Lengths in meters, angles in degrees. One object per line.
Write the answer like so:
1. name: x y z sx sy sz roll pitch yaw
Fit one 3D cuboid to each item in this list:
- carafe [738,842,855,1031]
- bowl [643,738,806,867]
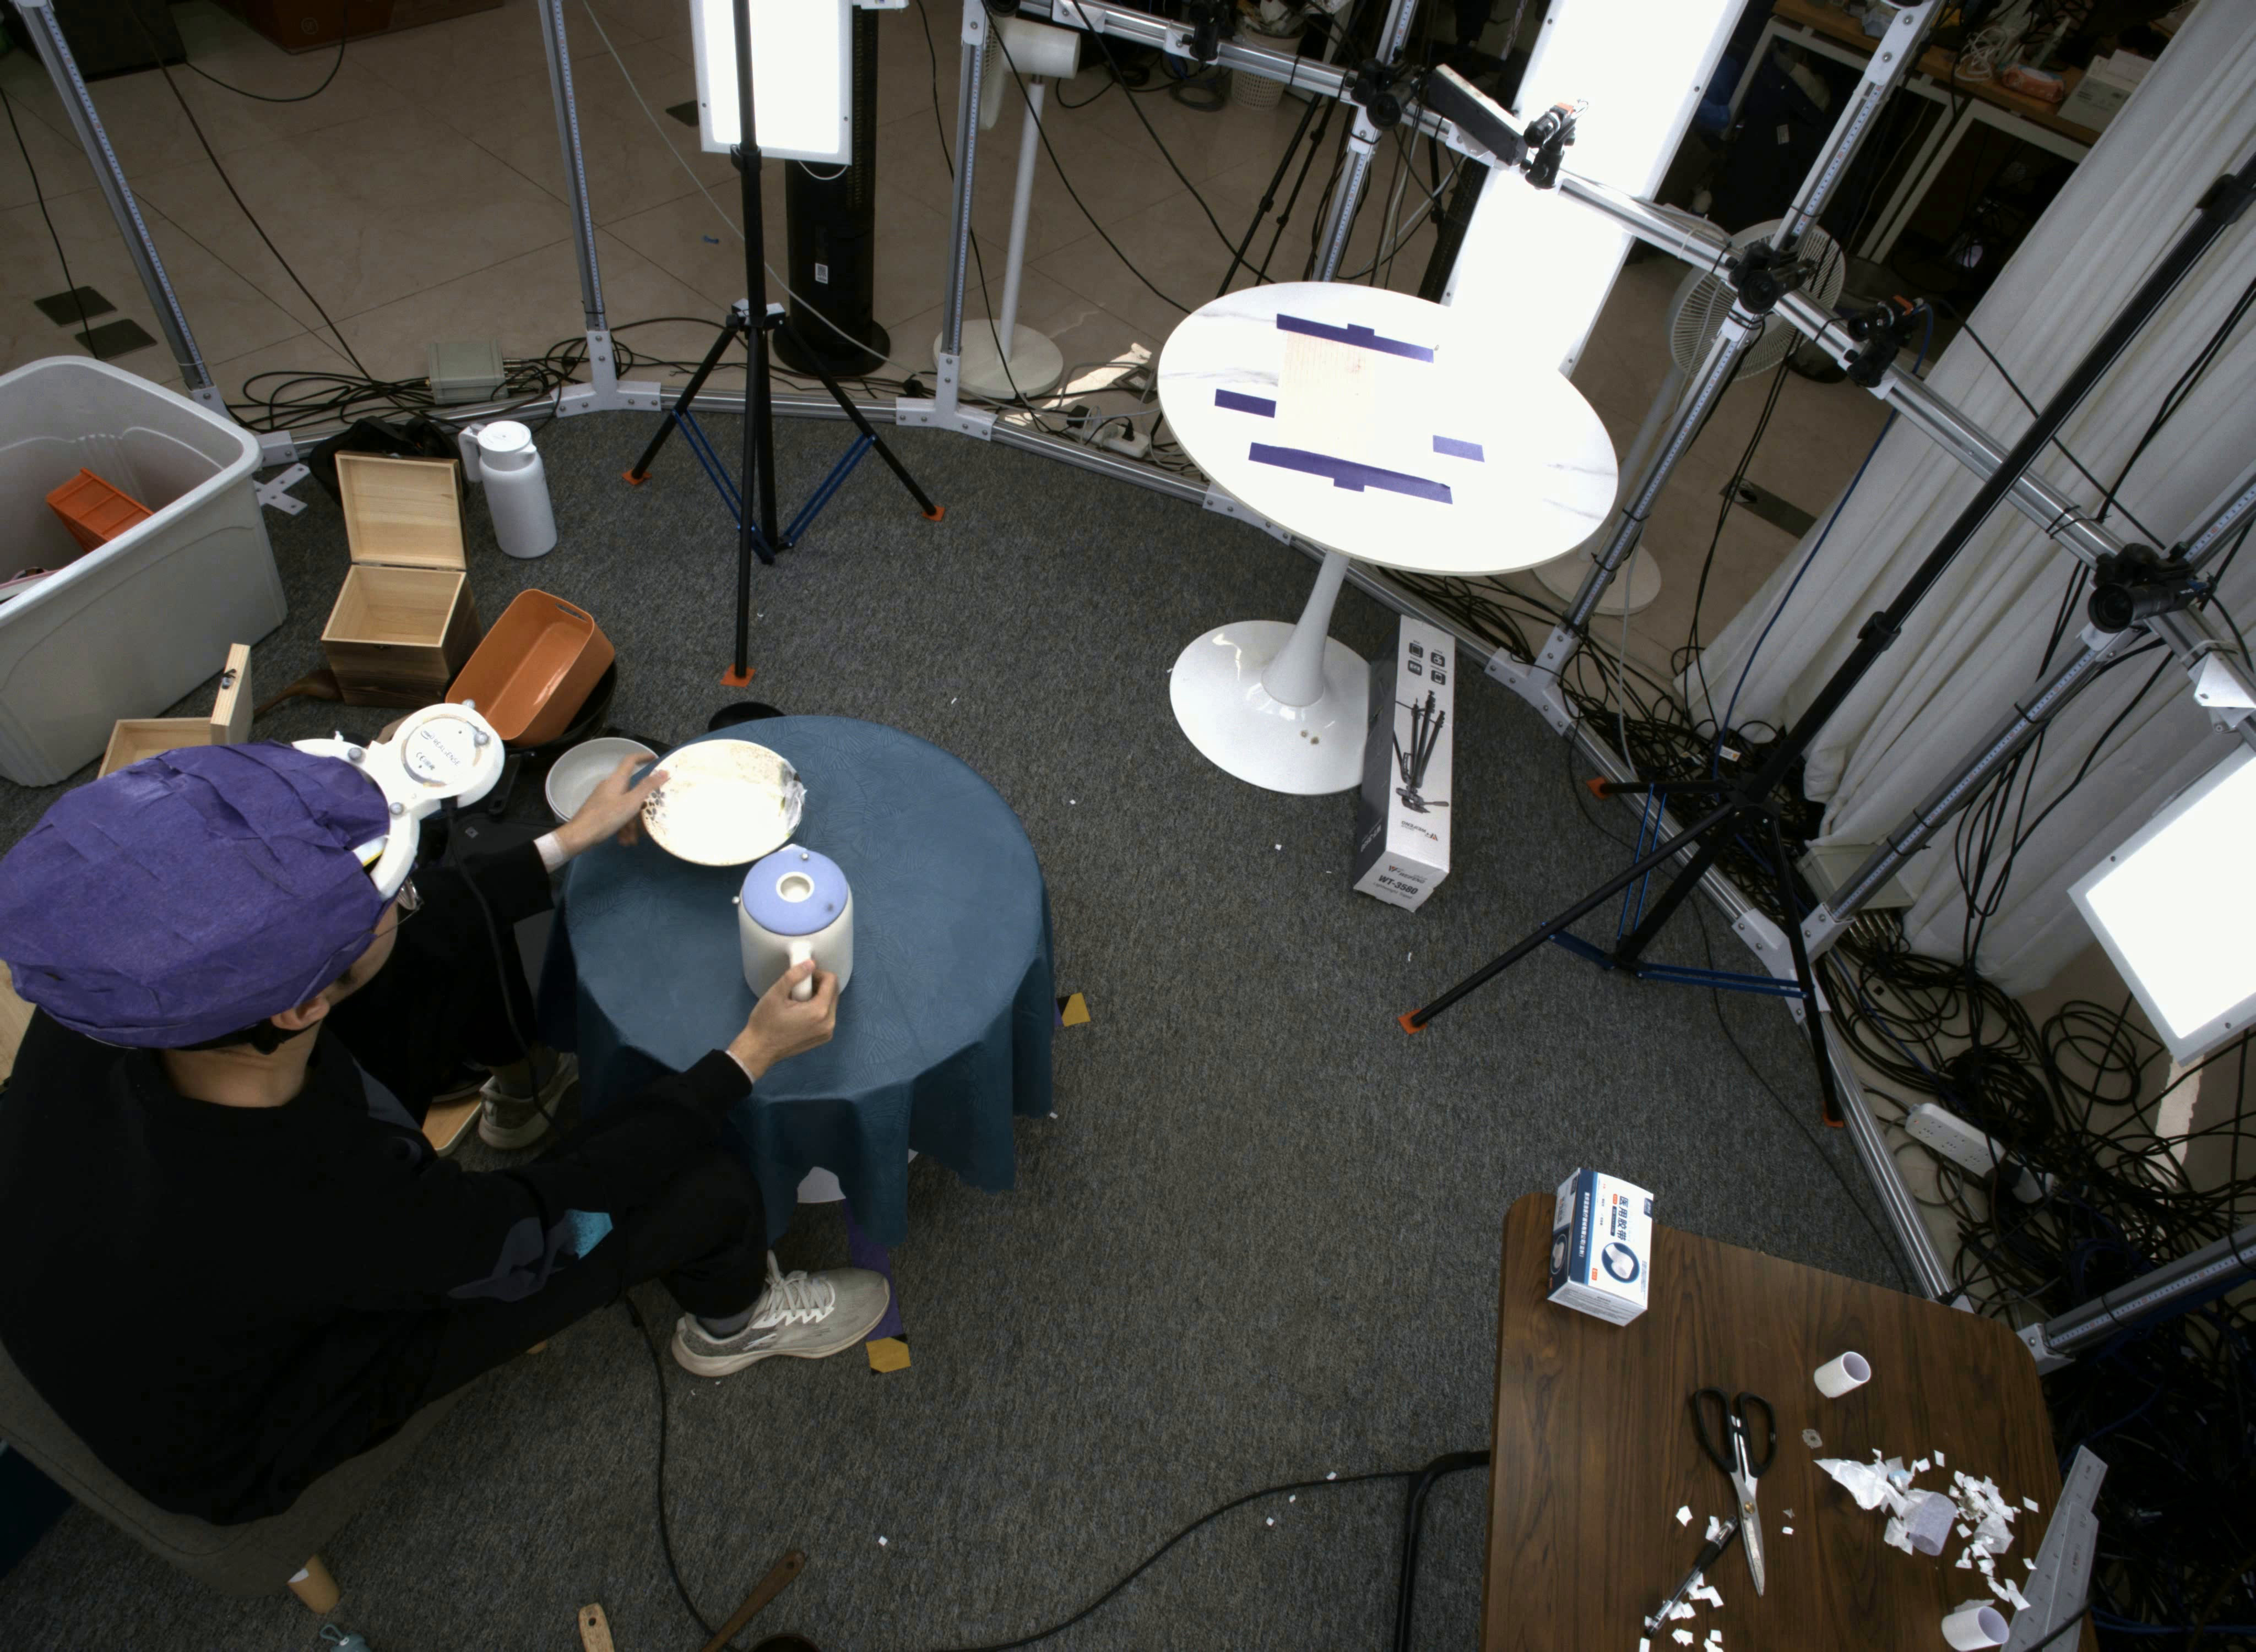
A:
1. carafe: -0.386 0.141 1.526 0.132 0.186 0.187 -7 58 -16
2. bowl: -0.517 -0.012 1.666 0.203 0.079 0.200 6 54 -7
